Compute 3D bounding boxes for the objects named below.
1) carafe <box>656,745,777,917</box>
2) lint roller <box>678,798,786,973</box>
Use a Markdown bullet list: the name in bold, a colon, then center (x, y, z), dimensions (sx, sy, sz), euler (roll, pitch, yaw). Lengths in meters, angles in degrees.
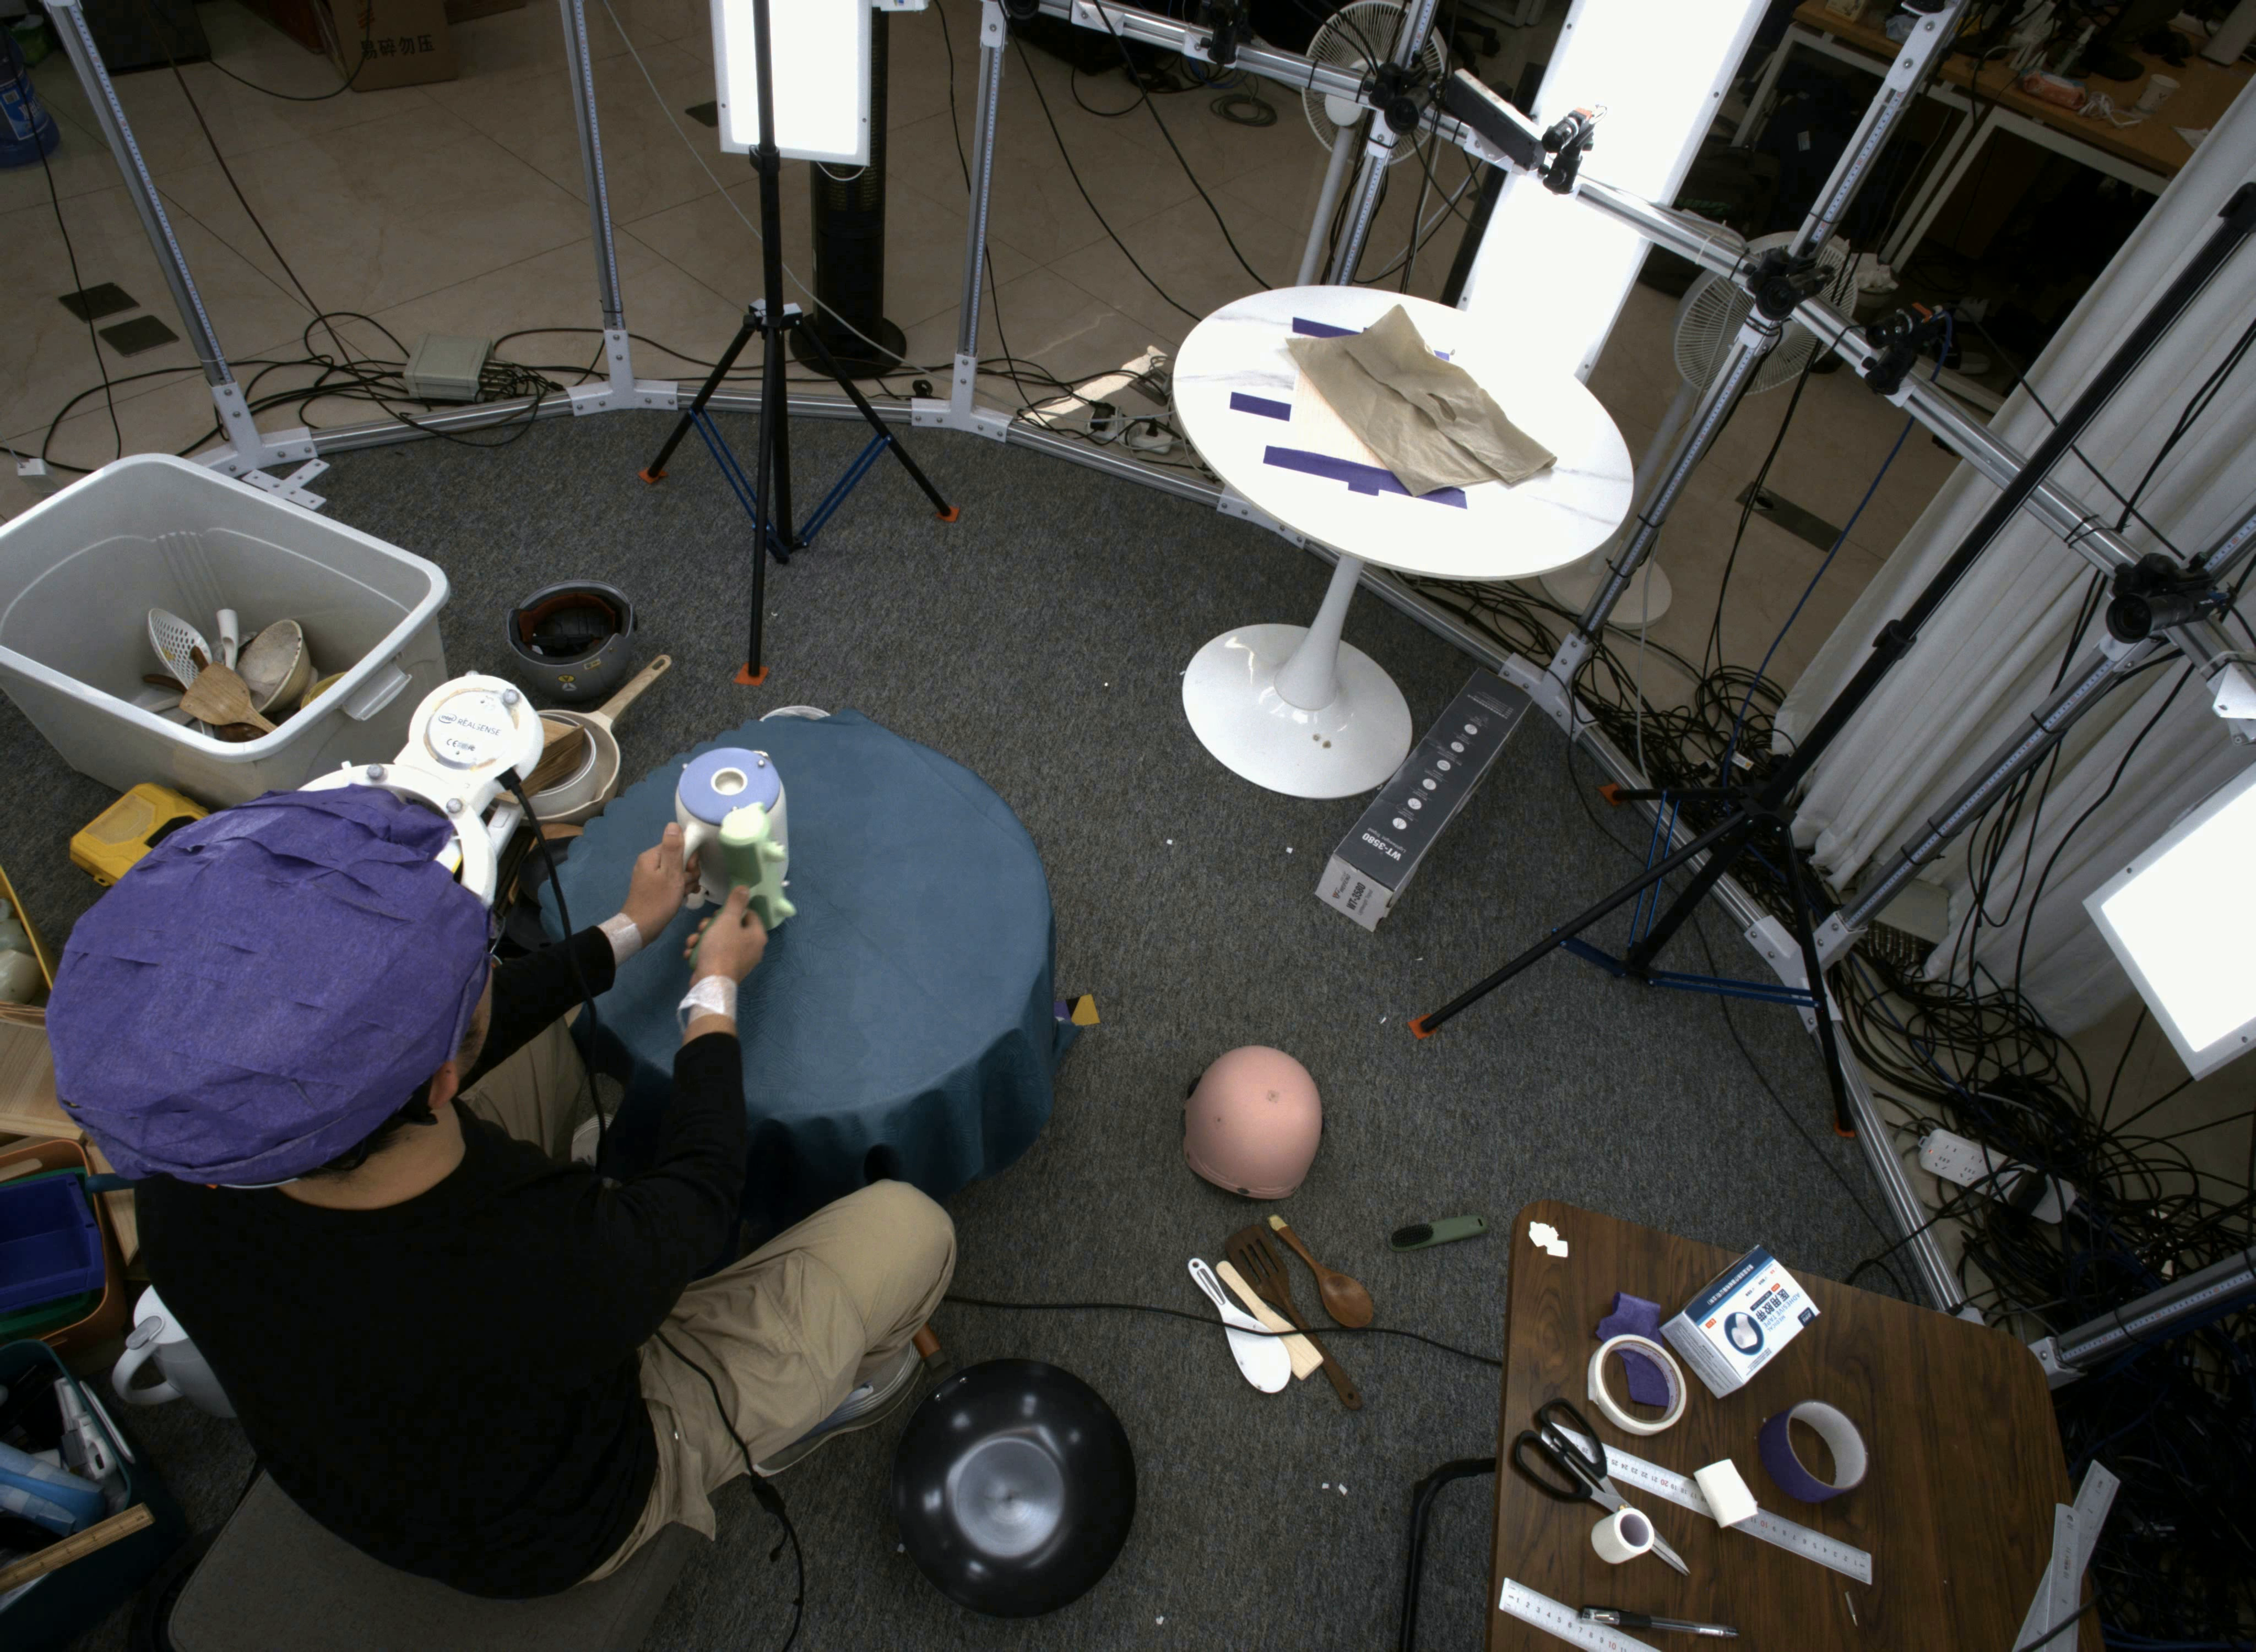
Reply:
- **carafe**: center (-0.513, 0.018, 1.570), dimensions (0.130, 0.186, 0.190), euler (24, 53, 8)
- **lint roller**: center (-0.455, 0.094, 1.499), dimensions (0.081, 0.203, 0.181), euler (10, 53, 0)
